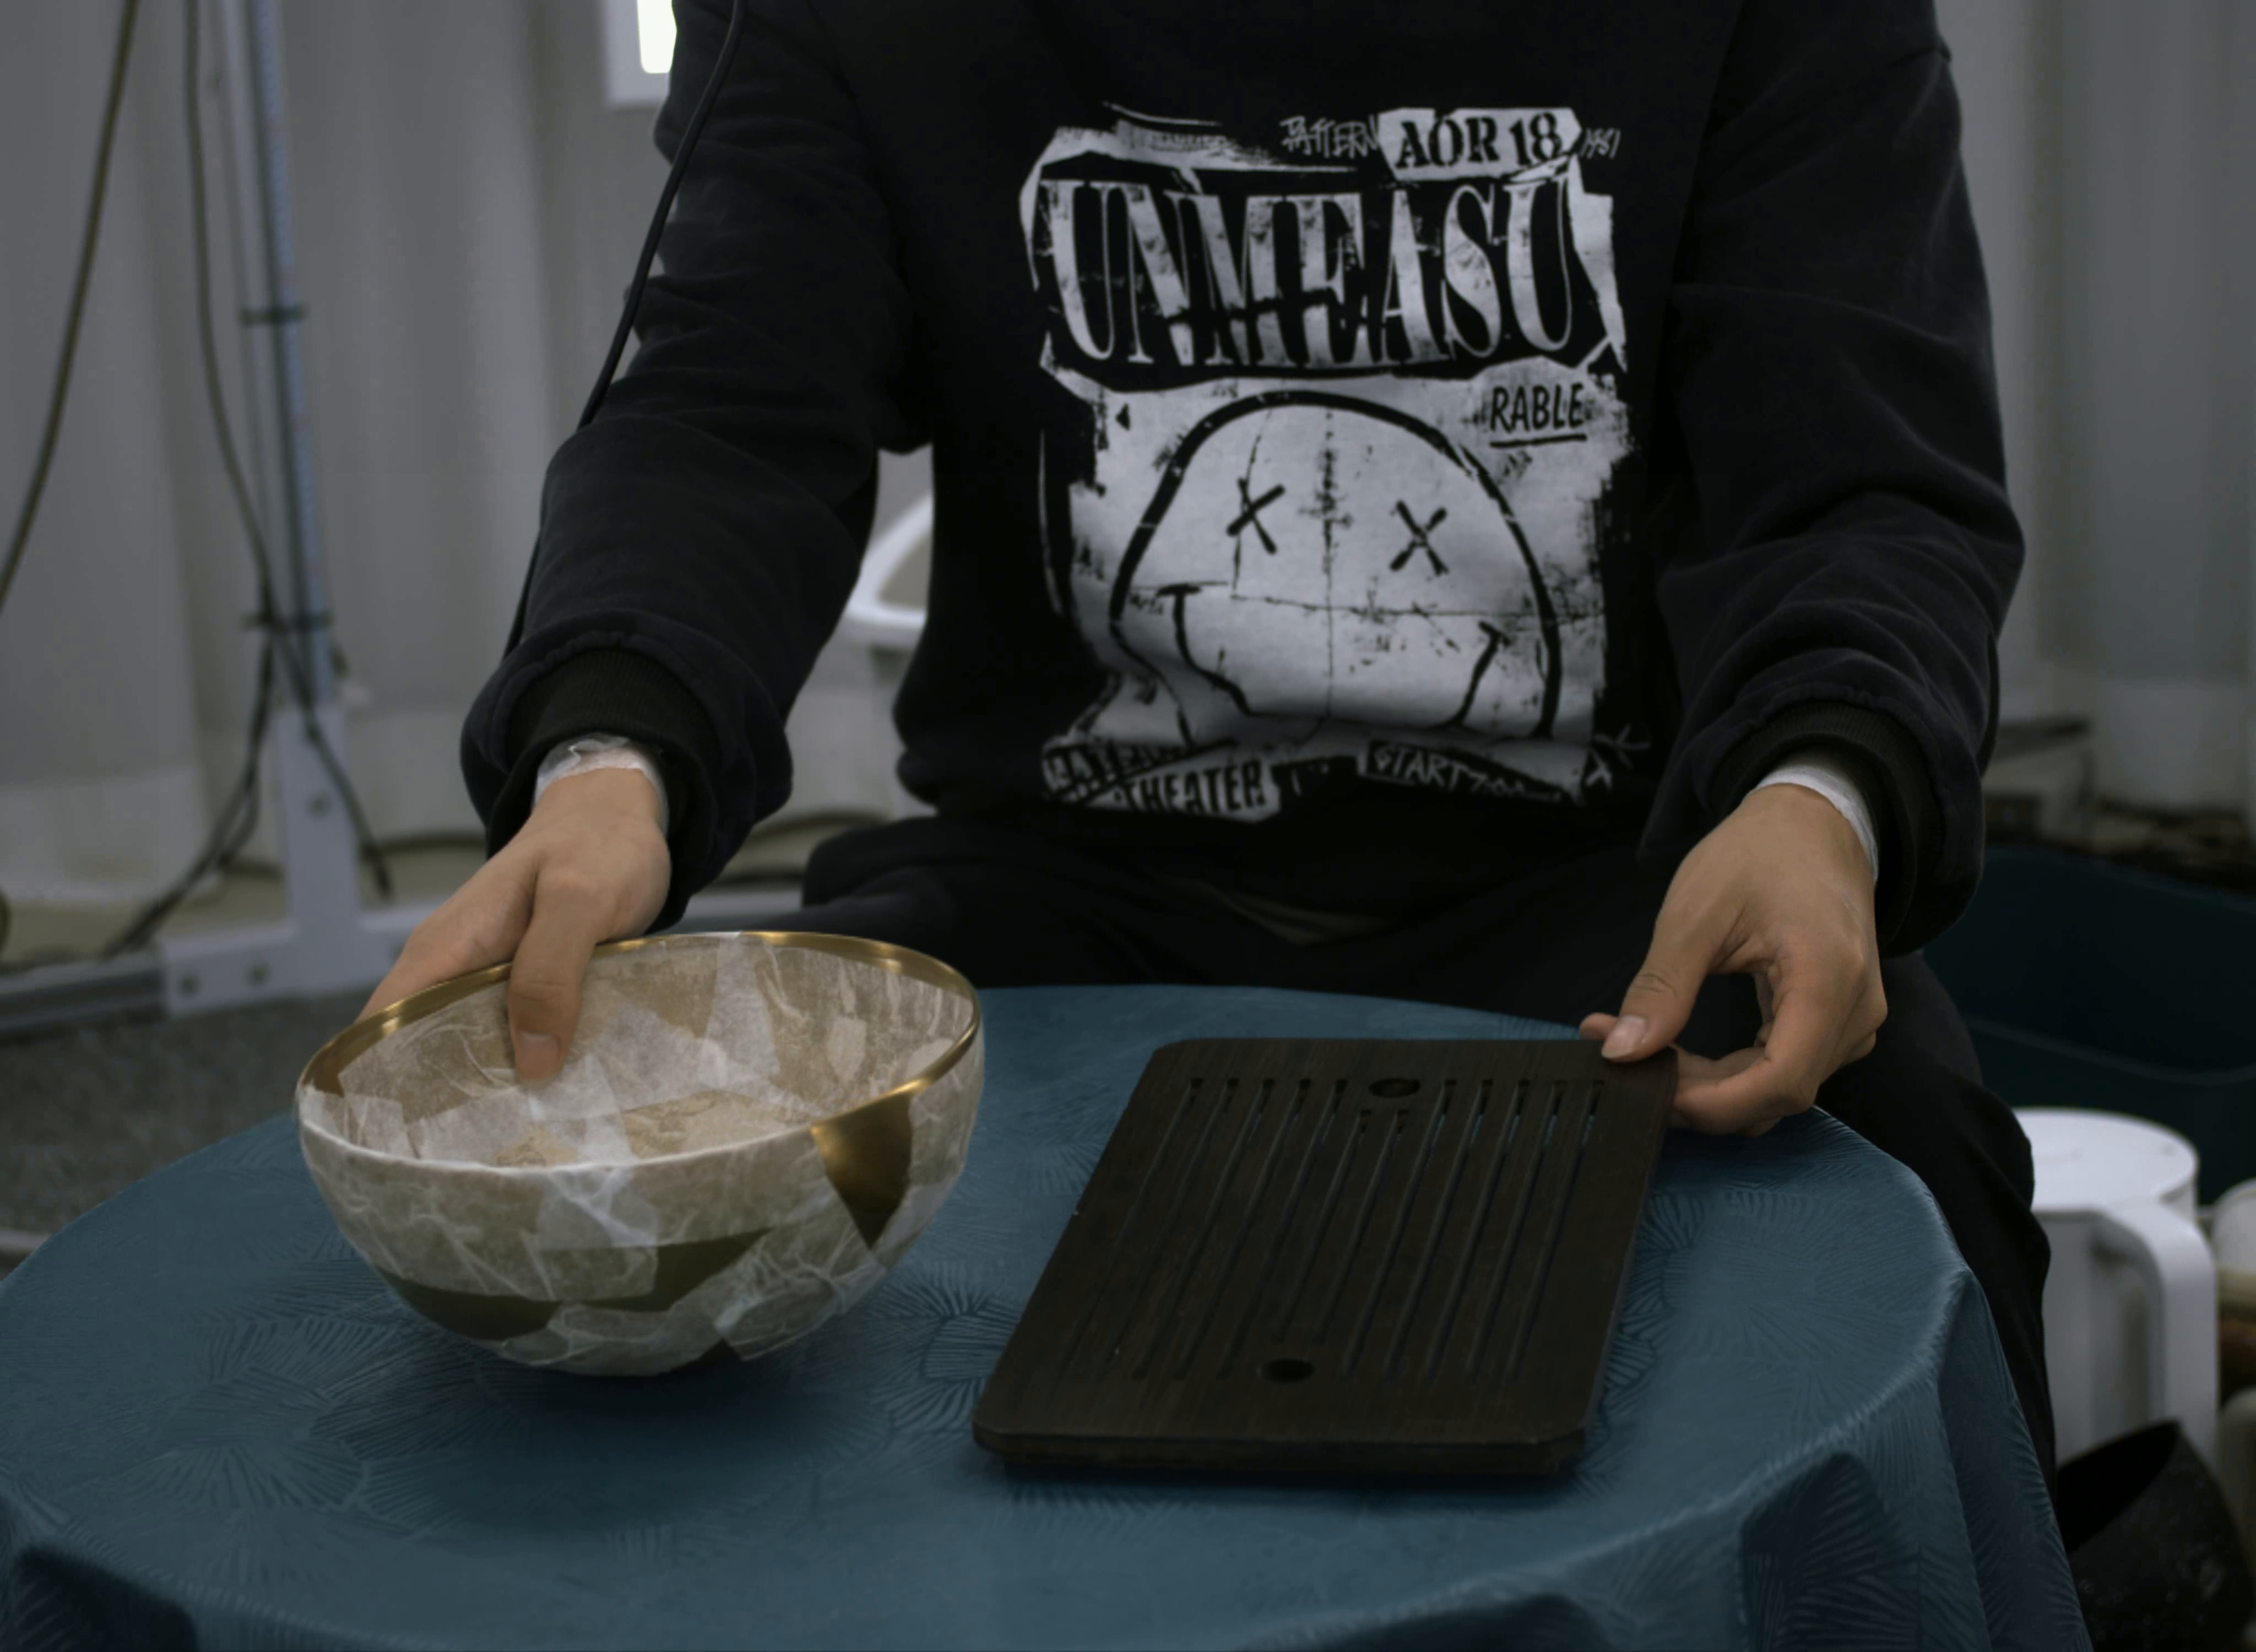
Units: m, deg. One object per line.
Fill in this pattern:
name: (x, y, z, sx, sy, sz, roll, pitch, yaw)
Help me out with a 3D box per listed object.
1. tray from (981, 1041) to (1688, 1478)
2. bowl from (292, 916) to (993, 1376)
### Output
tray: (0.069, 0.124, 1.604, 0.170, 0.018, 0.308, 0, 18, 11)
bowl: (-0.134, 0.103, 1.595, 0.214, 0.094, 0.216, -6, 17, 2)
